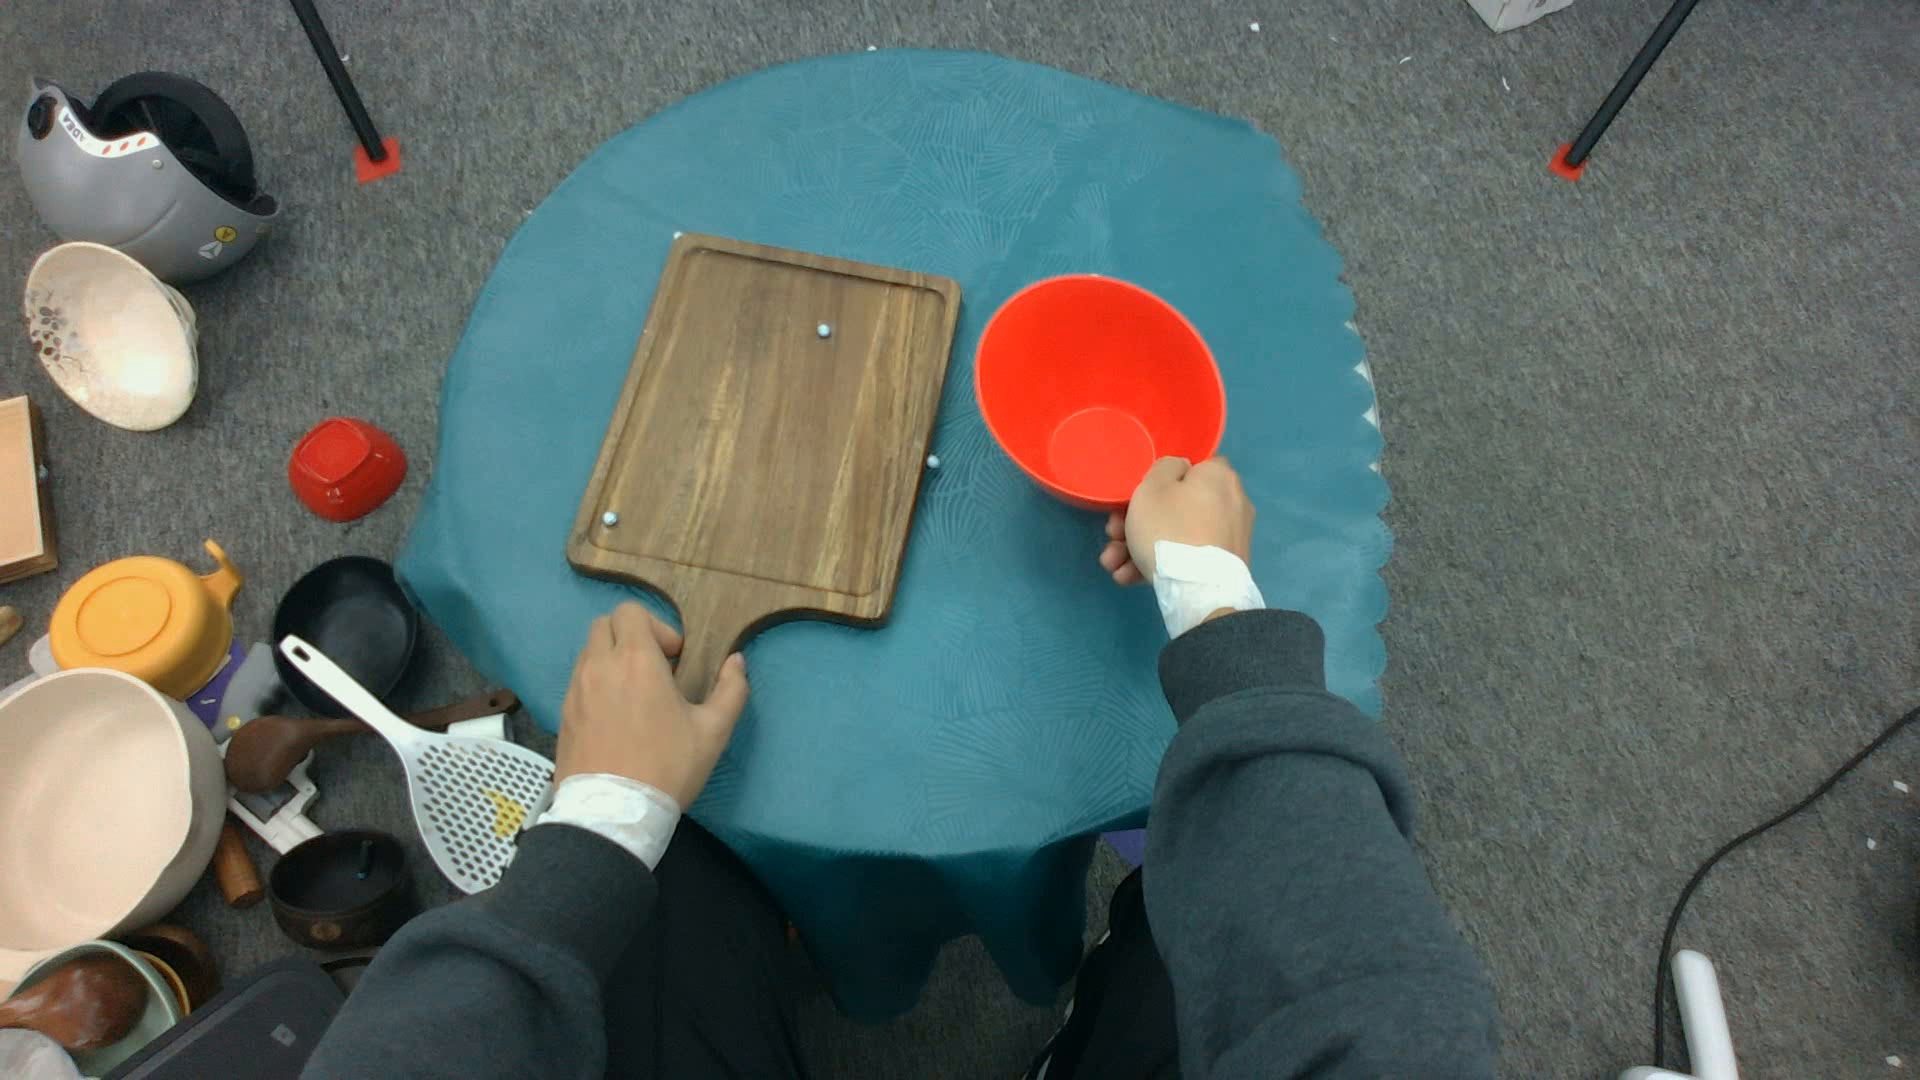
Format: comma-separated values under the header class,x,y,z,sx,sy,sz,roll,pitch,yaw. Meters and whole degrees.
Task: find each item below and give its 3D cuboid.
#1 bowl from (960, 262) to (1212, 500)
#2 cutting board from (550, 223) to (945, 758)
class,x,y,z,sx,sy,sz,roll,pitch,yaw
bowl,0.072,-0.081,0.825,0.148,0.104,0.148,1,67,-2
cutting board,-0.134,-0.038,0.839,0.201,0.023,0.353,10,64,2
